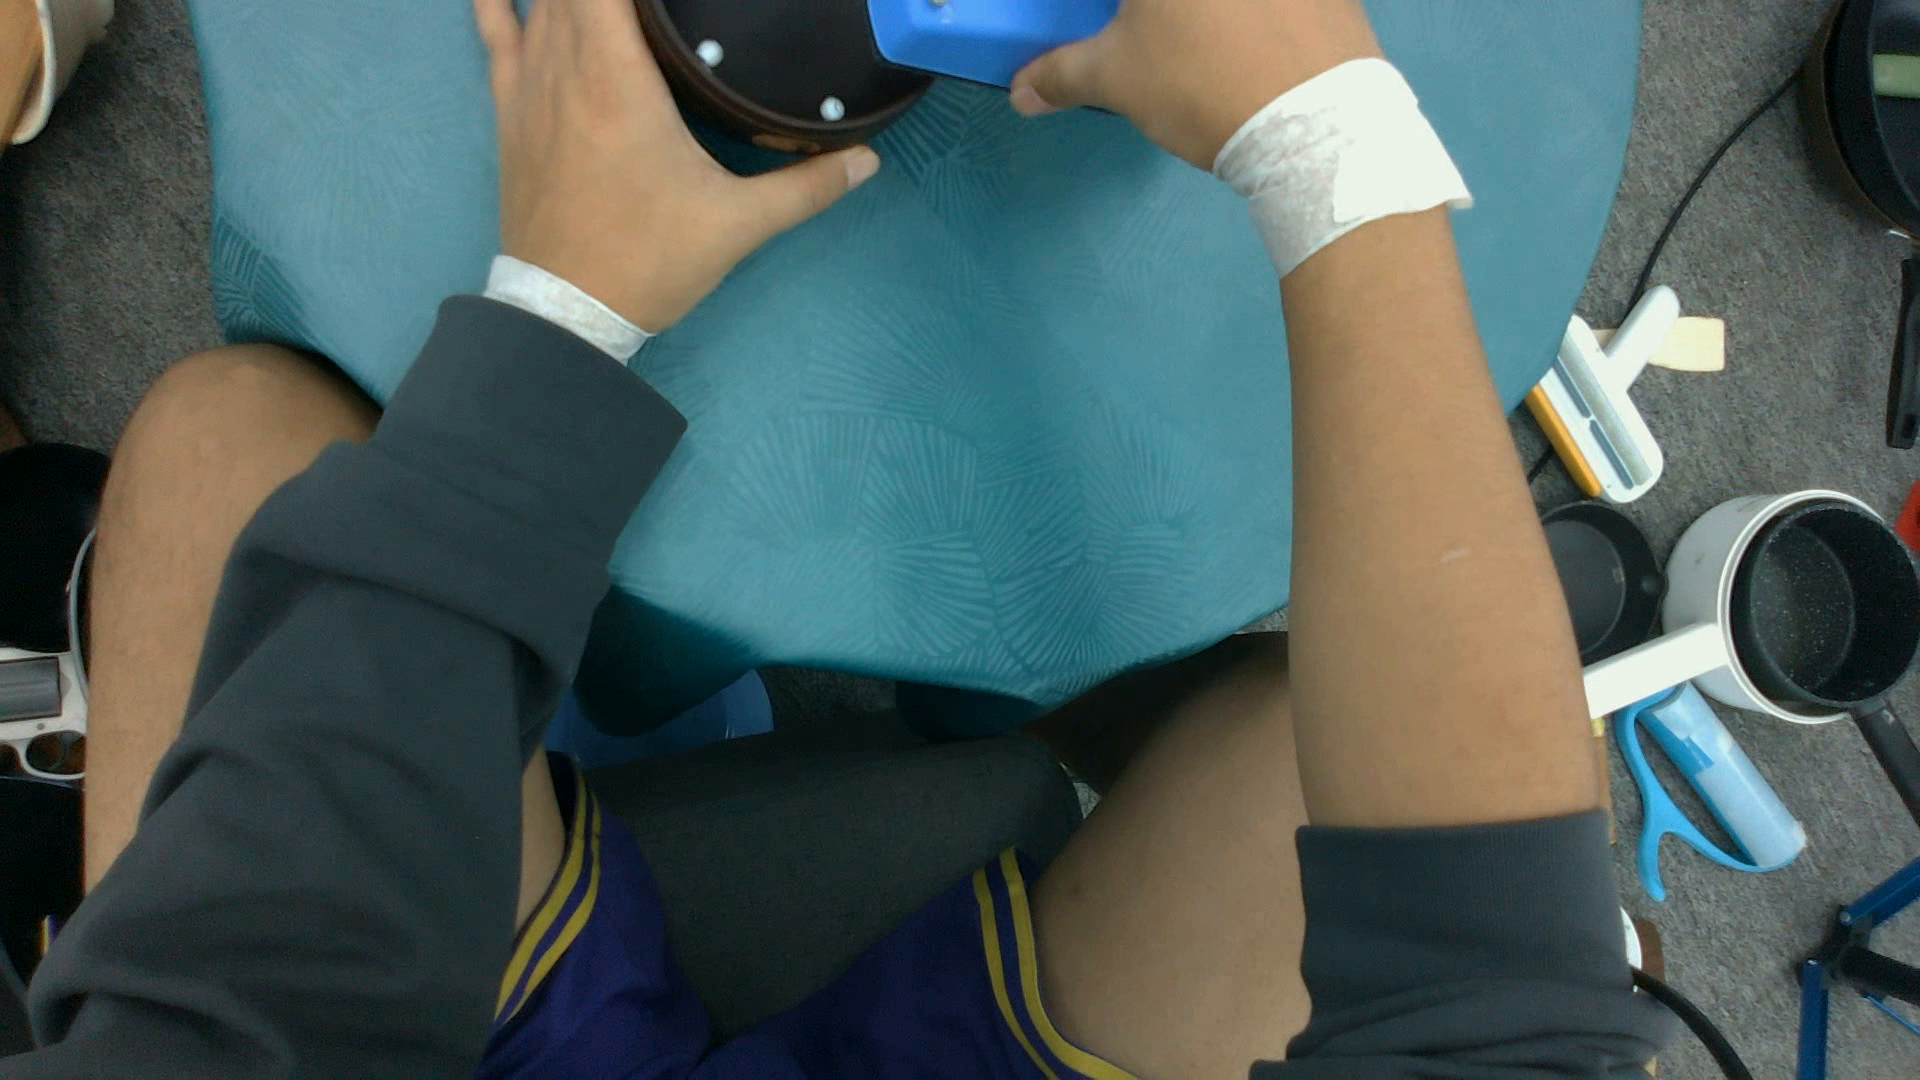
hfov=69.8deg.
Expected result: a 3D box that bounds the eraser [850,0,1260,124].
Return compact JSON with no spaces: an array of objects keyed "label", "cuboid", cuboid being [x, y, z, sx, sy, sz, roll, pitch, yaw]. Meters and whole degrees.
[{"label":"eraser","cuboid":[0.041,-0.190,0.486,0.162,0.047,0.054,0,81,-32]}]

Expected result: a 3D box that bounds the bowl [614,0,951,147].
[{"label":"bowl","cuboid":[-0.068,-0.199,0.495,0.118,0.070,0.118,0,91,-24]}]
